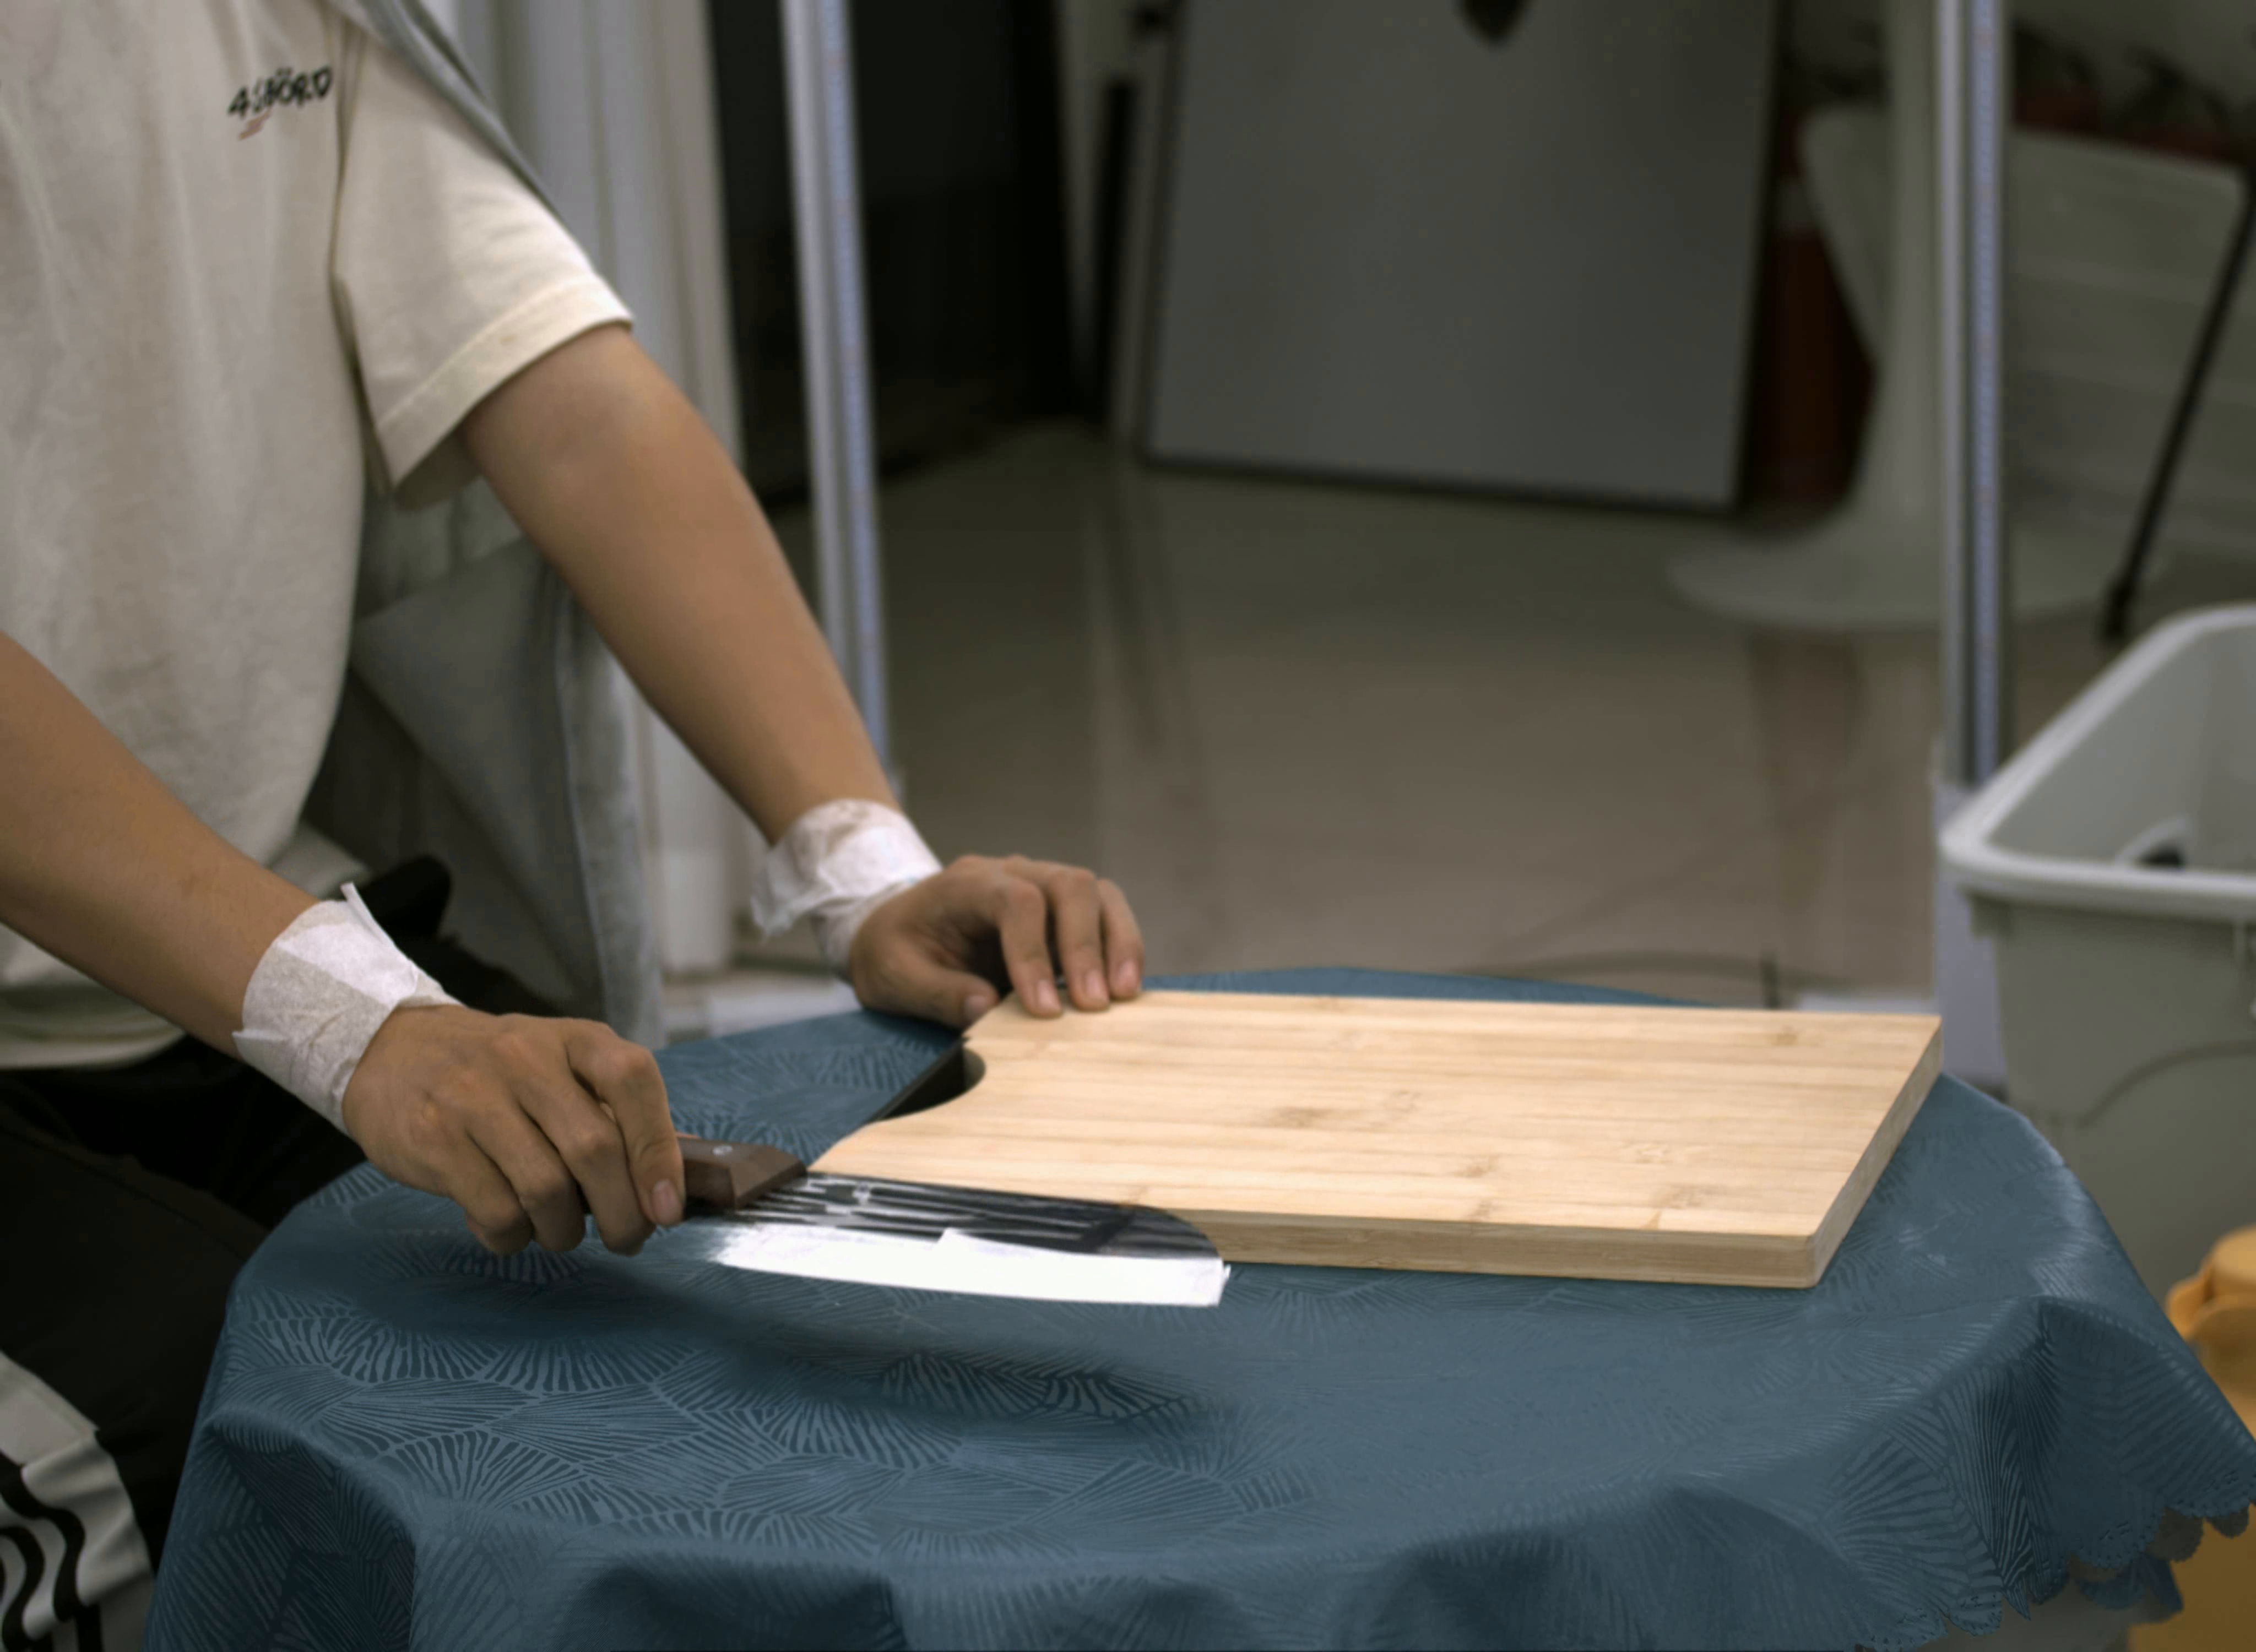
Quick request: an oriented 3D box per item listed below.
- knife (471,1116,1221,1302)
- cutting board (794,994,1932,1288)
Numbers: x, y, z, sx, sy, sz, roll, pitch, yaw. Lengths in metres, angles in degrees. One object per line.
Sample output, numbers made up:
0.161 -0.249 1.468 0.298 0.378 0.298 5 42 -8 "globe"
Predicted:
-0.093 0.119 1.638 0.301 0.024 0.067 4 23 32 "knife"
0.080 0.102 1.798 0.348 0.024 0.248 0 14 18 "cutting board"
